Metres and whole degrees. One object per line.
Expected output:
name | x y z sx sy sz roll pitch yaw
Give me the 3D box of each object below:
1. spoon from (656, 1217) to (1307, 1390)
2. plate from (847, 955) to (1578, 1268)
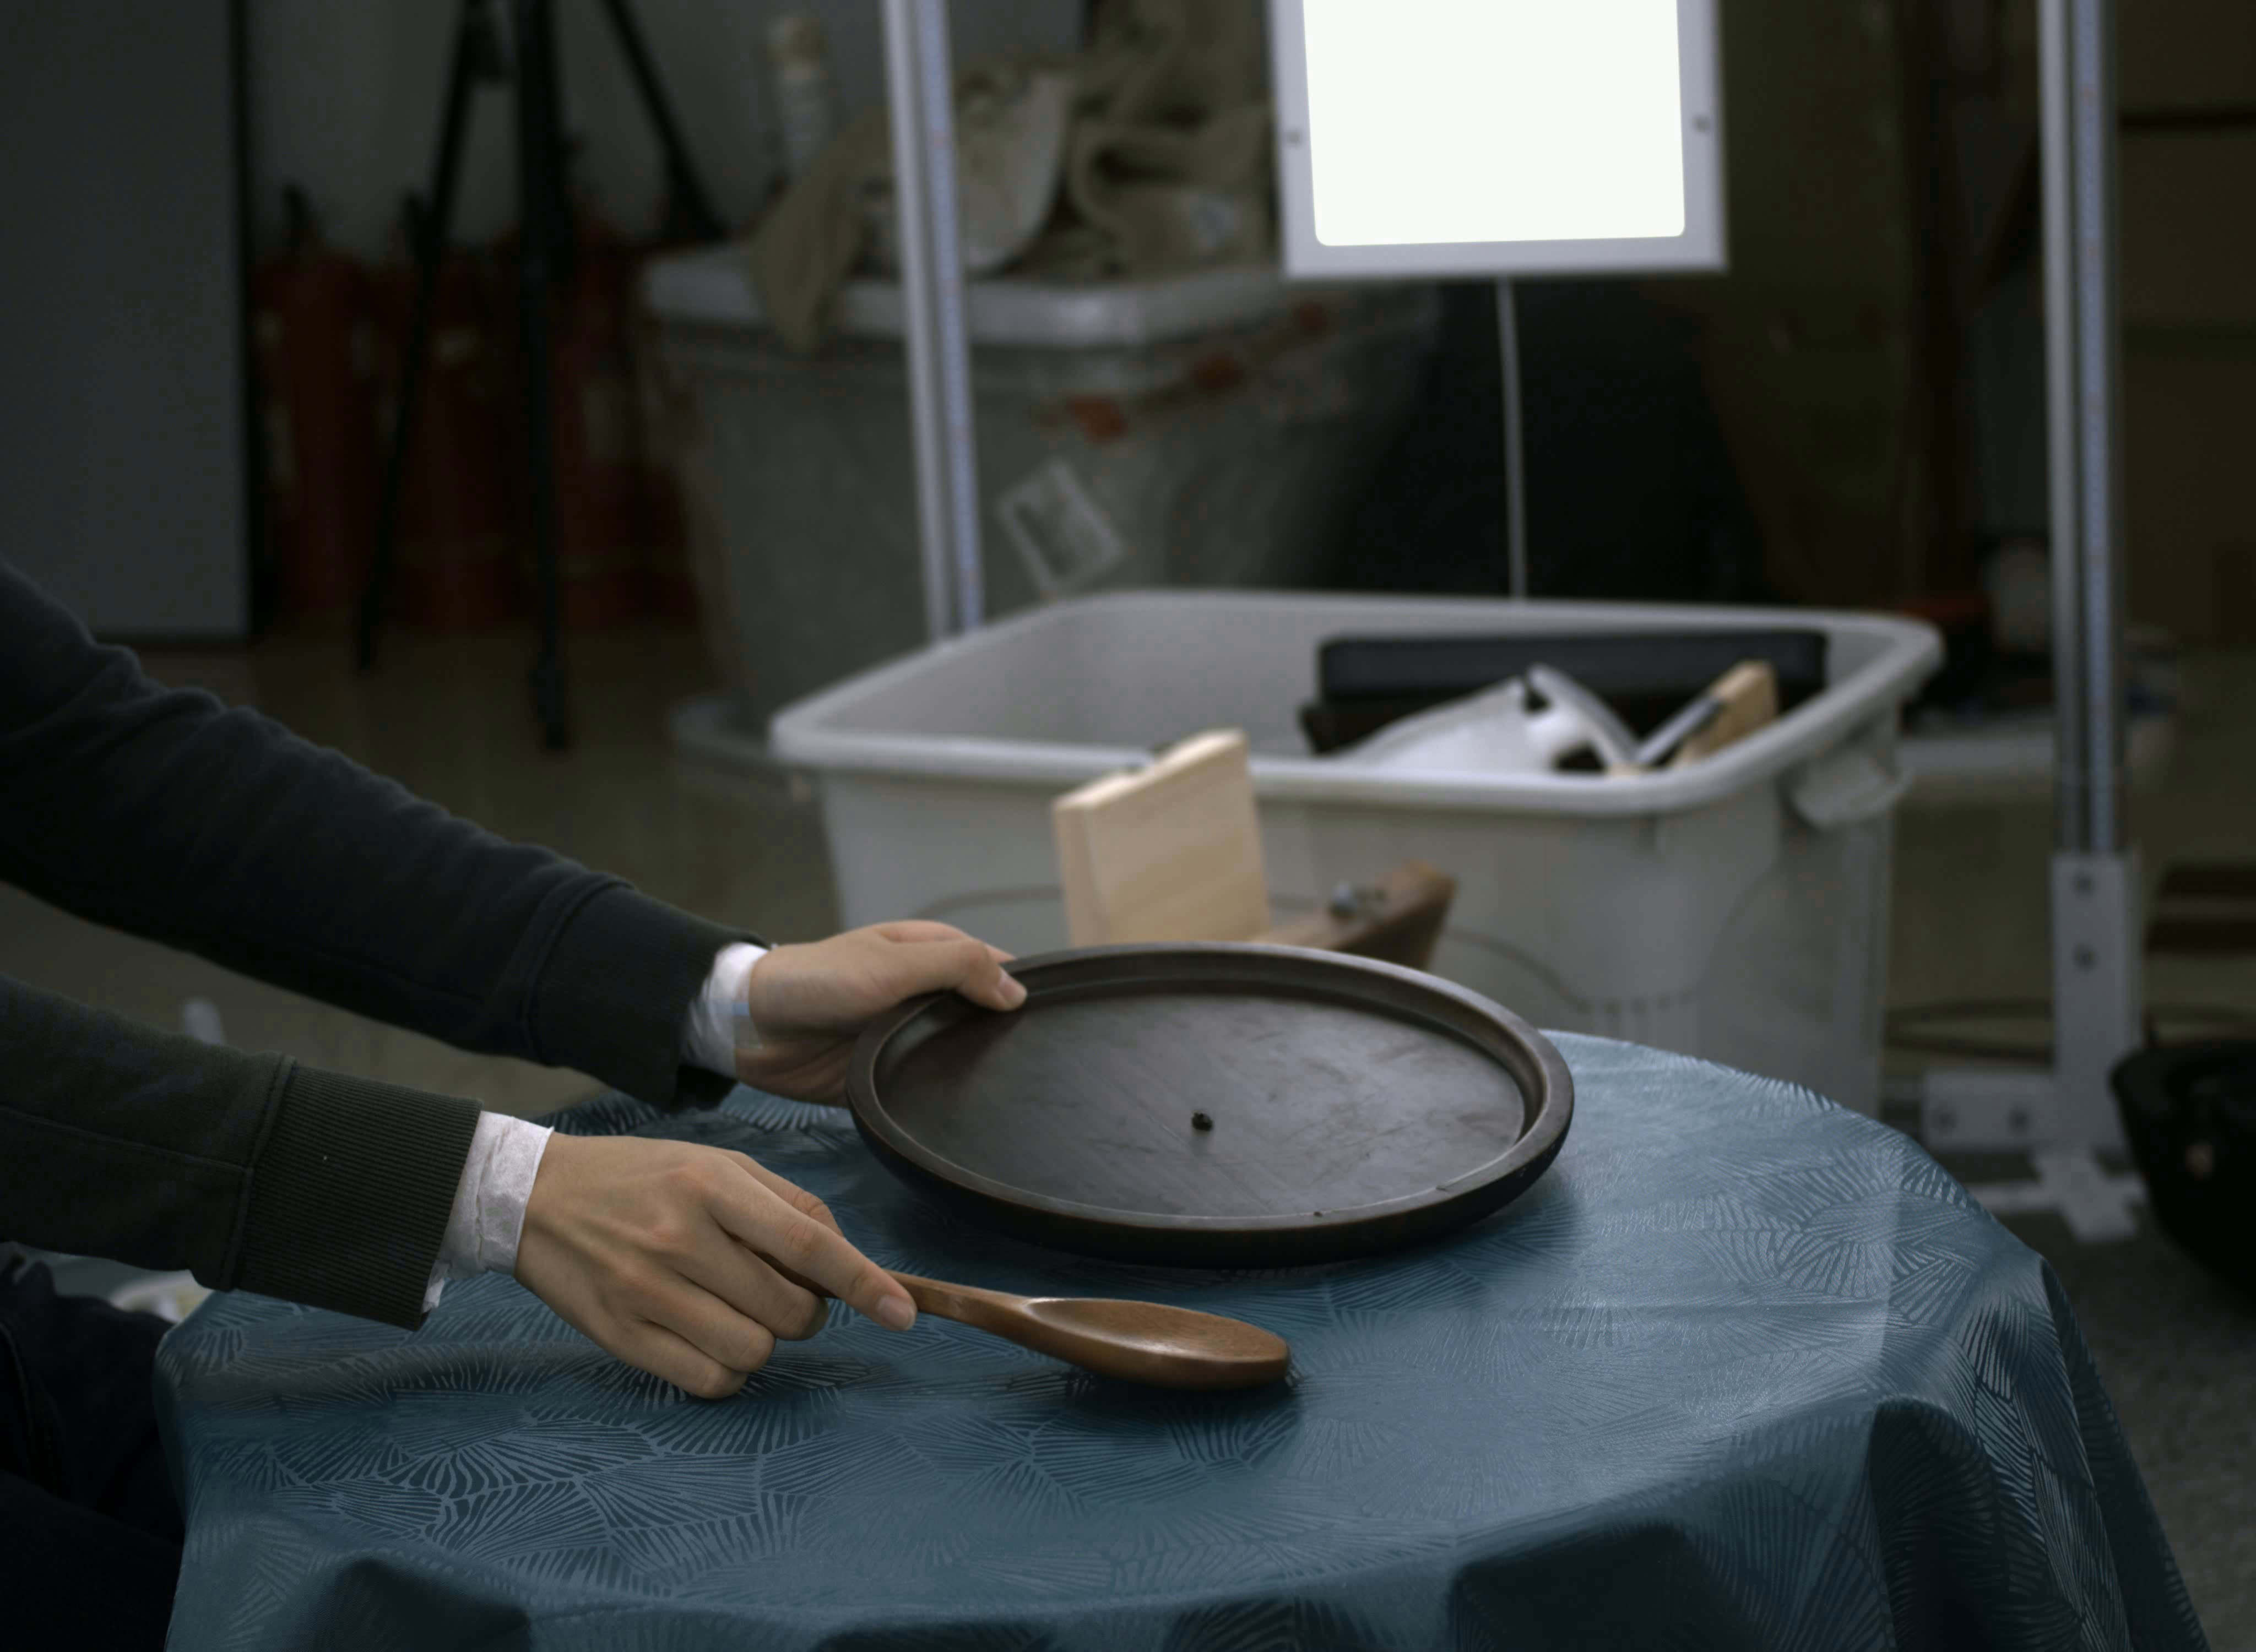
spoon | -0.048 0.150 1.721 0.218 0.017 0.074 11 7 20
plate | 0.029 0.096 1.898 0.254 0.029 0.254 1 20 -2
